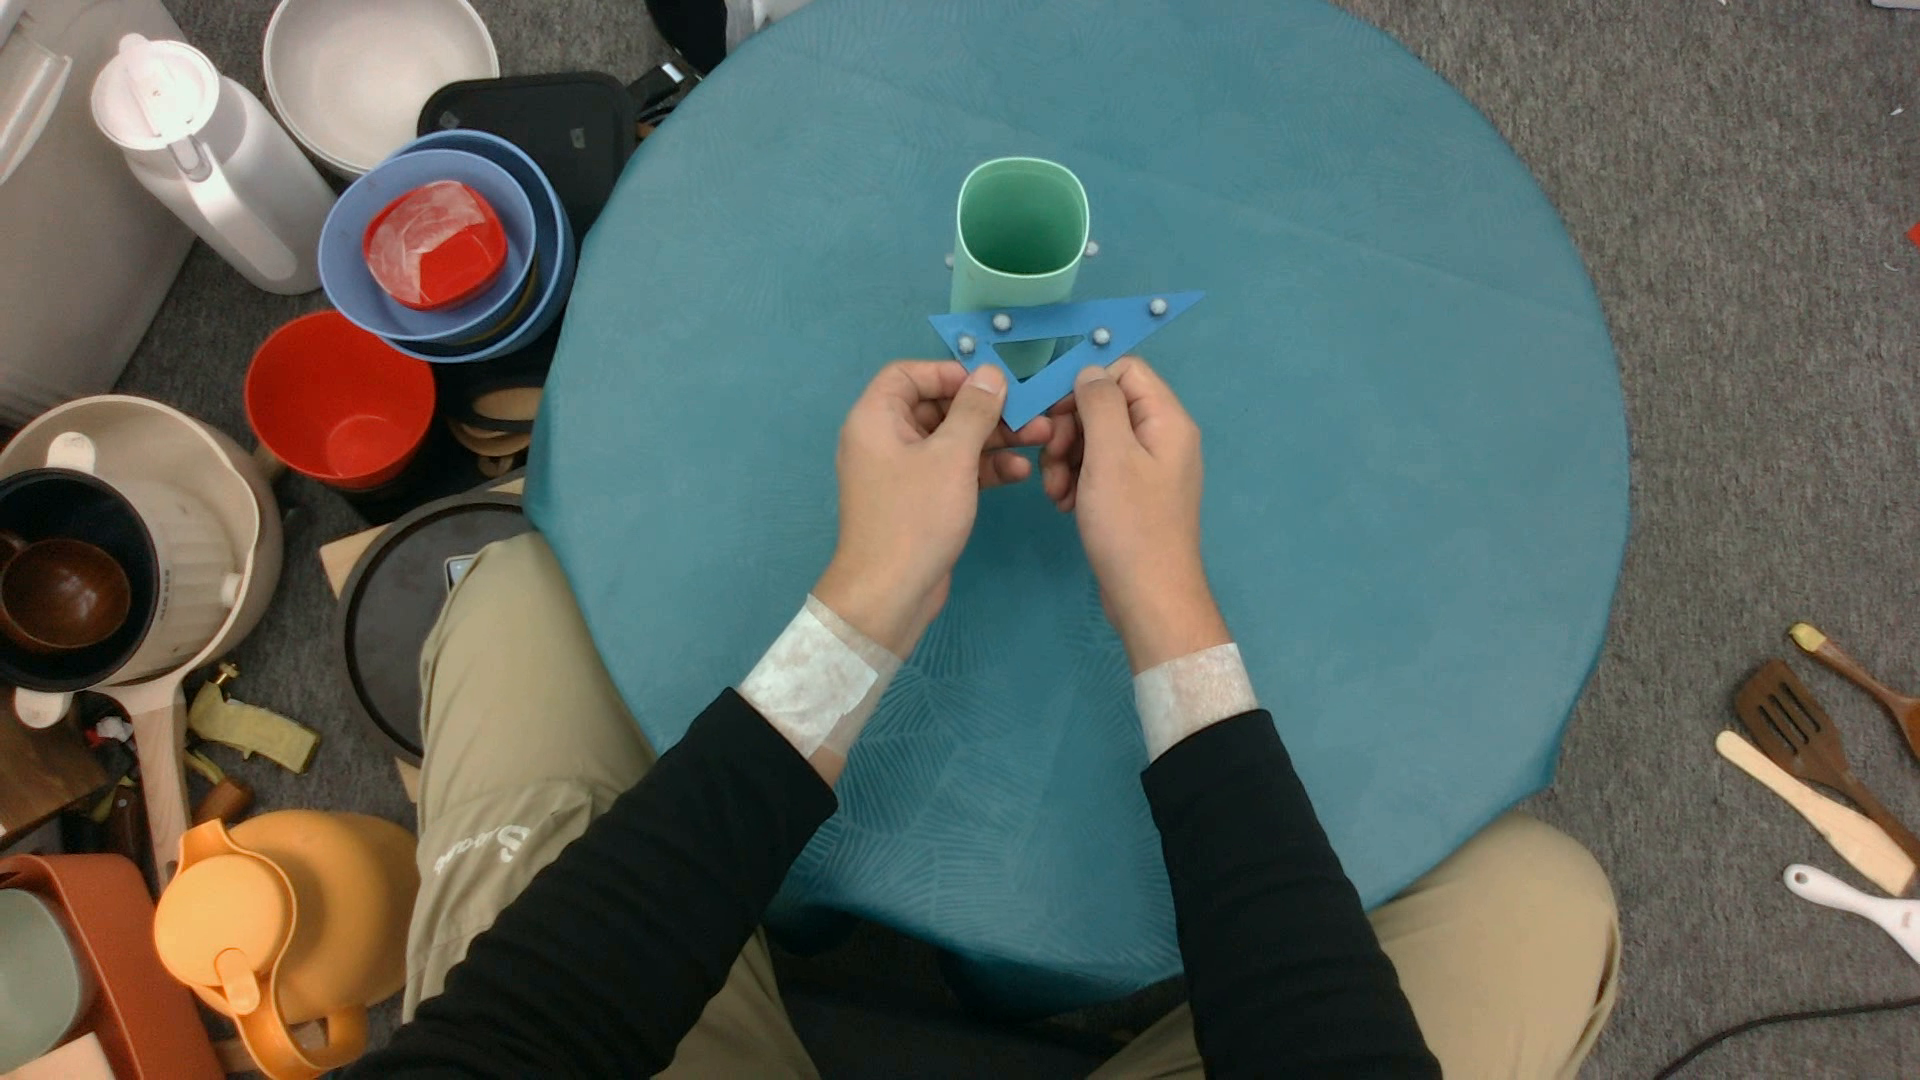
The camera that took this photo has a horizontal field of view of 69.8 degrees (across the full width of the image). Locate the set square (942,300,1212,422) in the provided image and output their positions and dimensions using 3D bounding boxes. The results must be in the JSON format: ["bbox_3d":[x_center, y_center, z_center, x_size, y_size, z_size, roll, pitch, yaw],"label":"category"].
[{"bbox_3d":[0.058,-0.087,0.663,0.132,0.006,0.061,-2,77,-5],"label":"set square"}]

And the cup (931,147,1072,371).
[{"bbox_3d":[0.018,-0.139,0.711,0.067,0.132,0.067,1,74,-4],"label":"cup"}]
